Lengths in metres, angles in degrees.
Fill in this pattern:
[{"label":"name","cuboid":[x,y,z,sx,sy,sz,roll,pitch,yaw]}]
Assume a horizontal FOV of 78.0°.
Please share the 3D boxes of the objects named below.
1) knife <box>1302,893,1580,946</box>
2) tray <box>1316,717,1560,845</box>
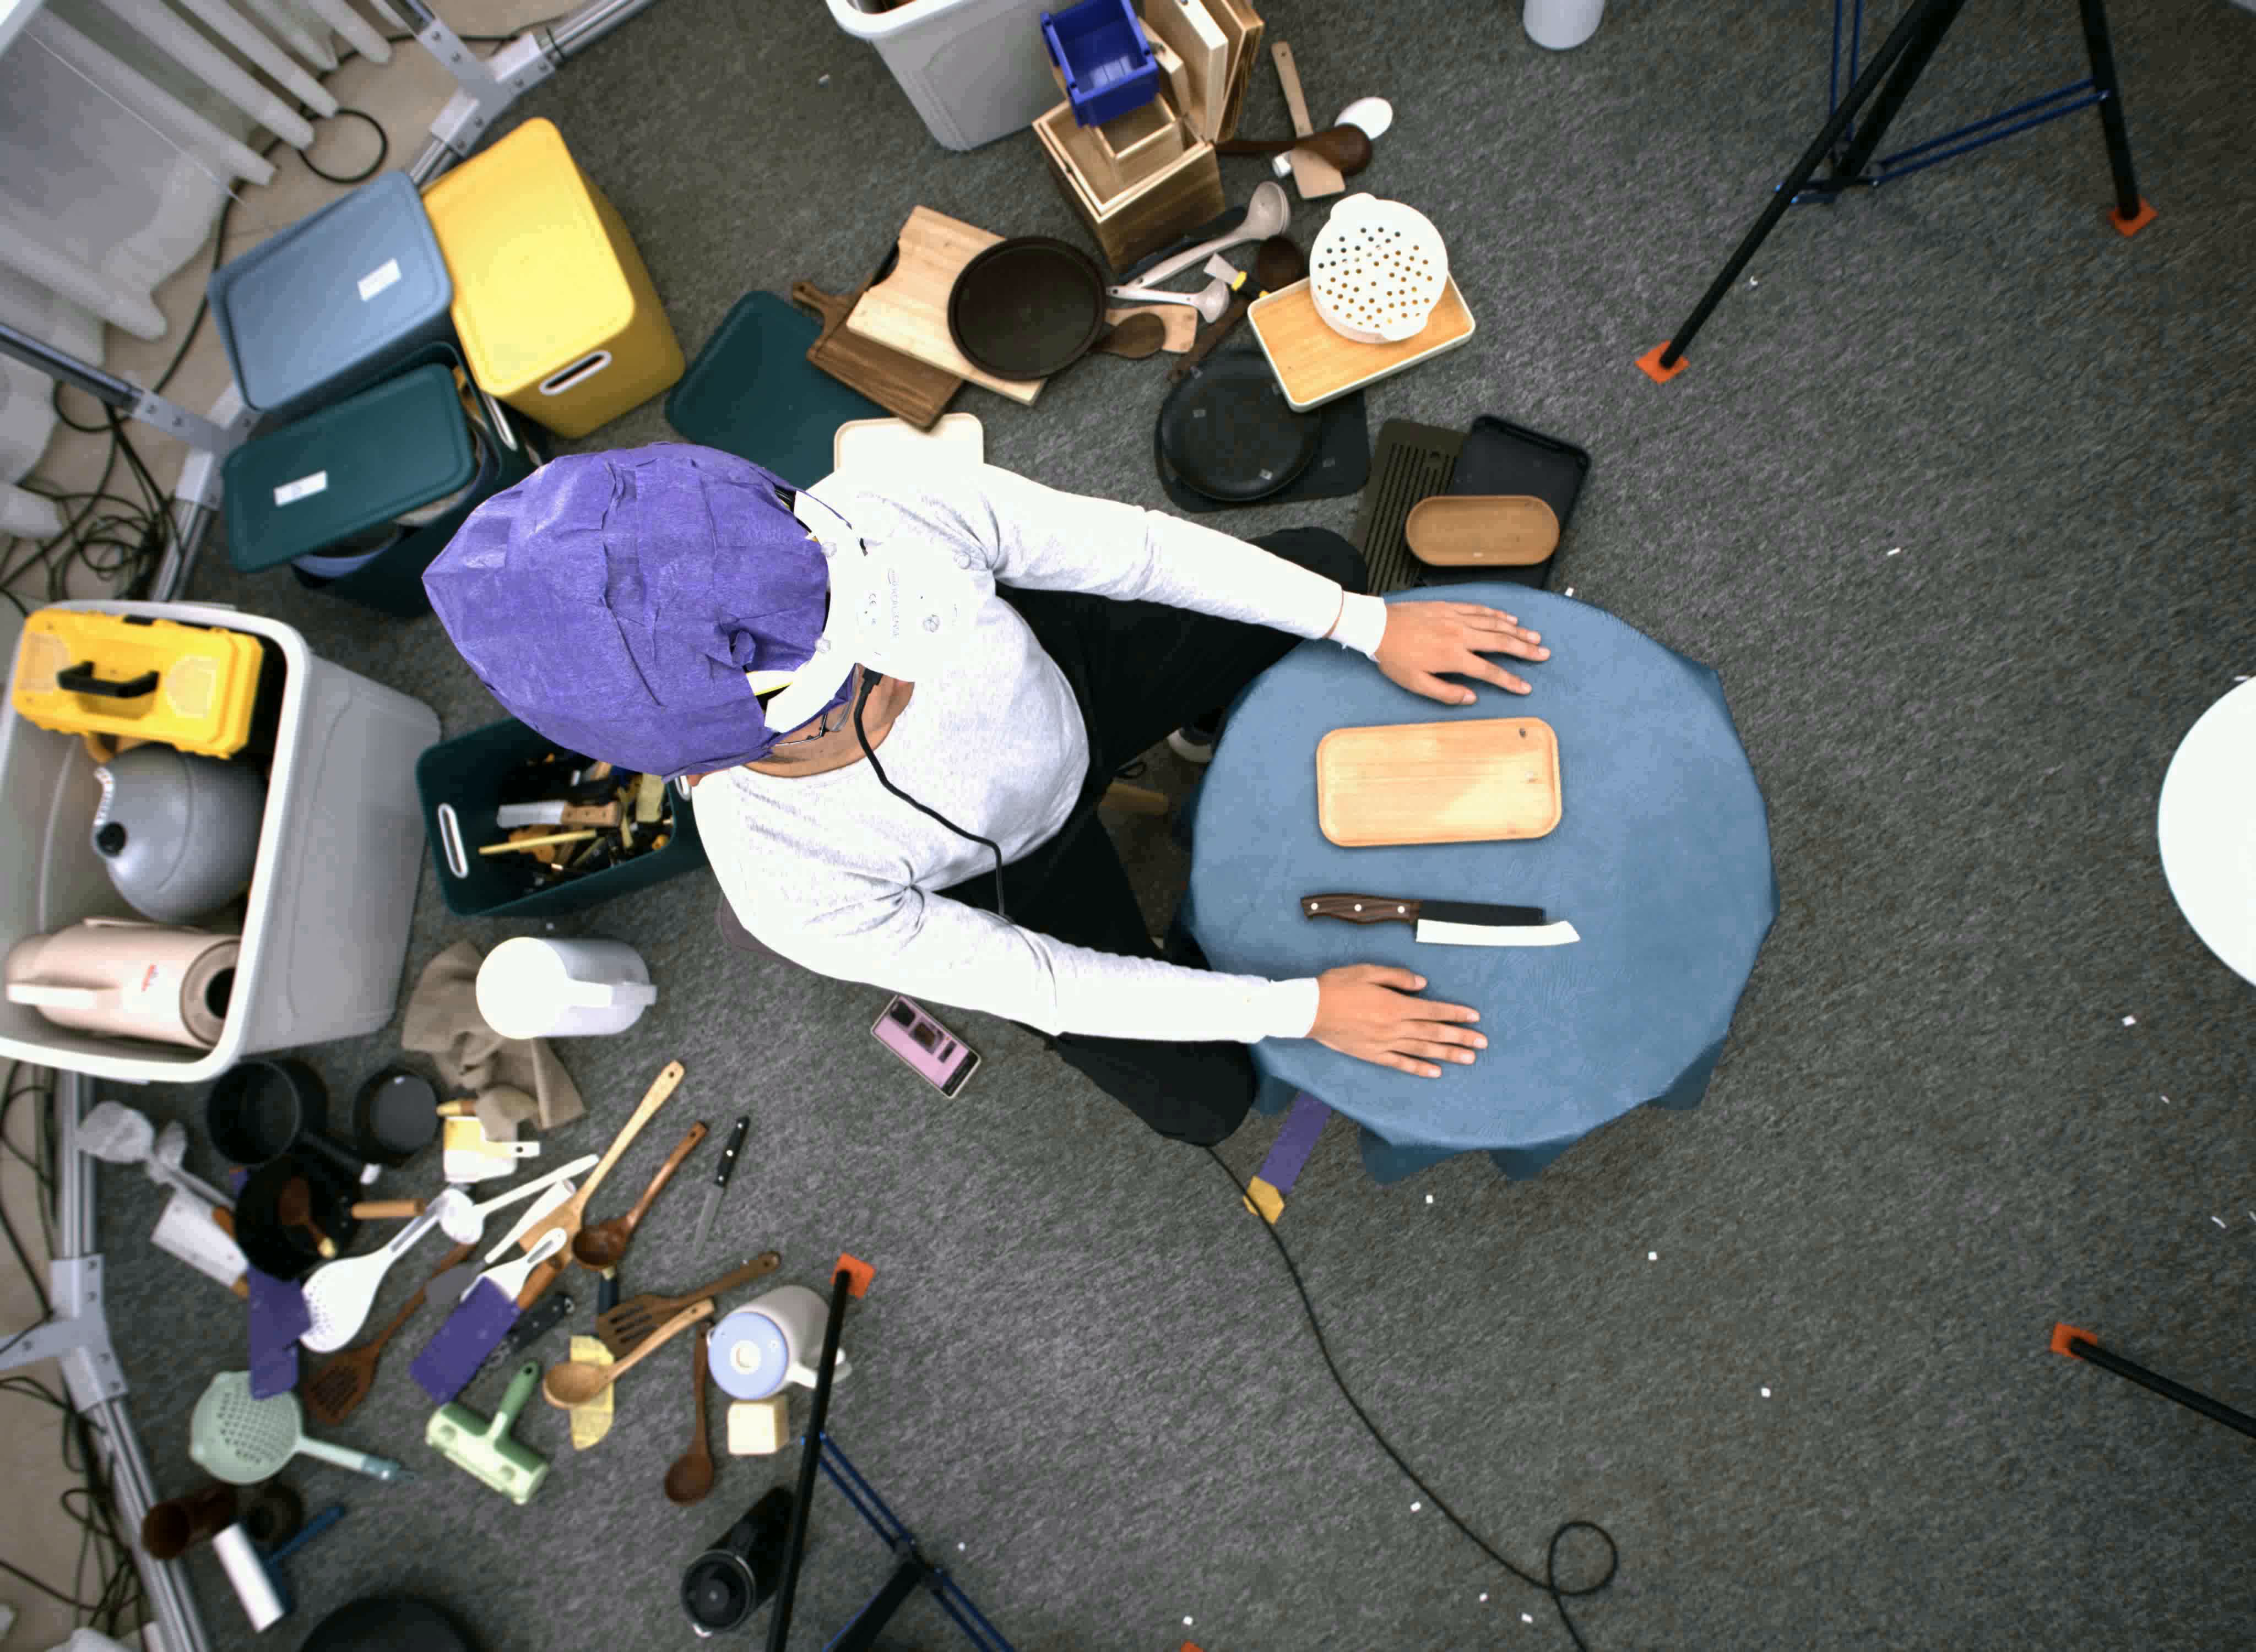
[{"label":"knife","cuboid":[0.325,0.096,1.441,0.290,0.020,0.050,5,93,8]},{"label":"tray","cuboid":[0.325,-0.048,1.449,0.252,0.023,0.130,-2,84,11]}]
